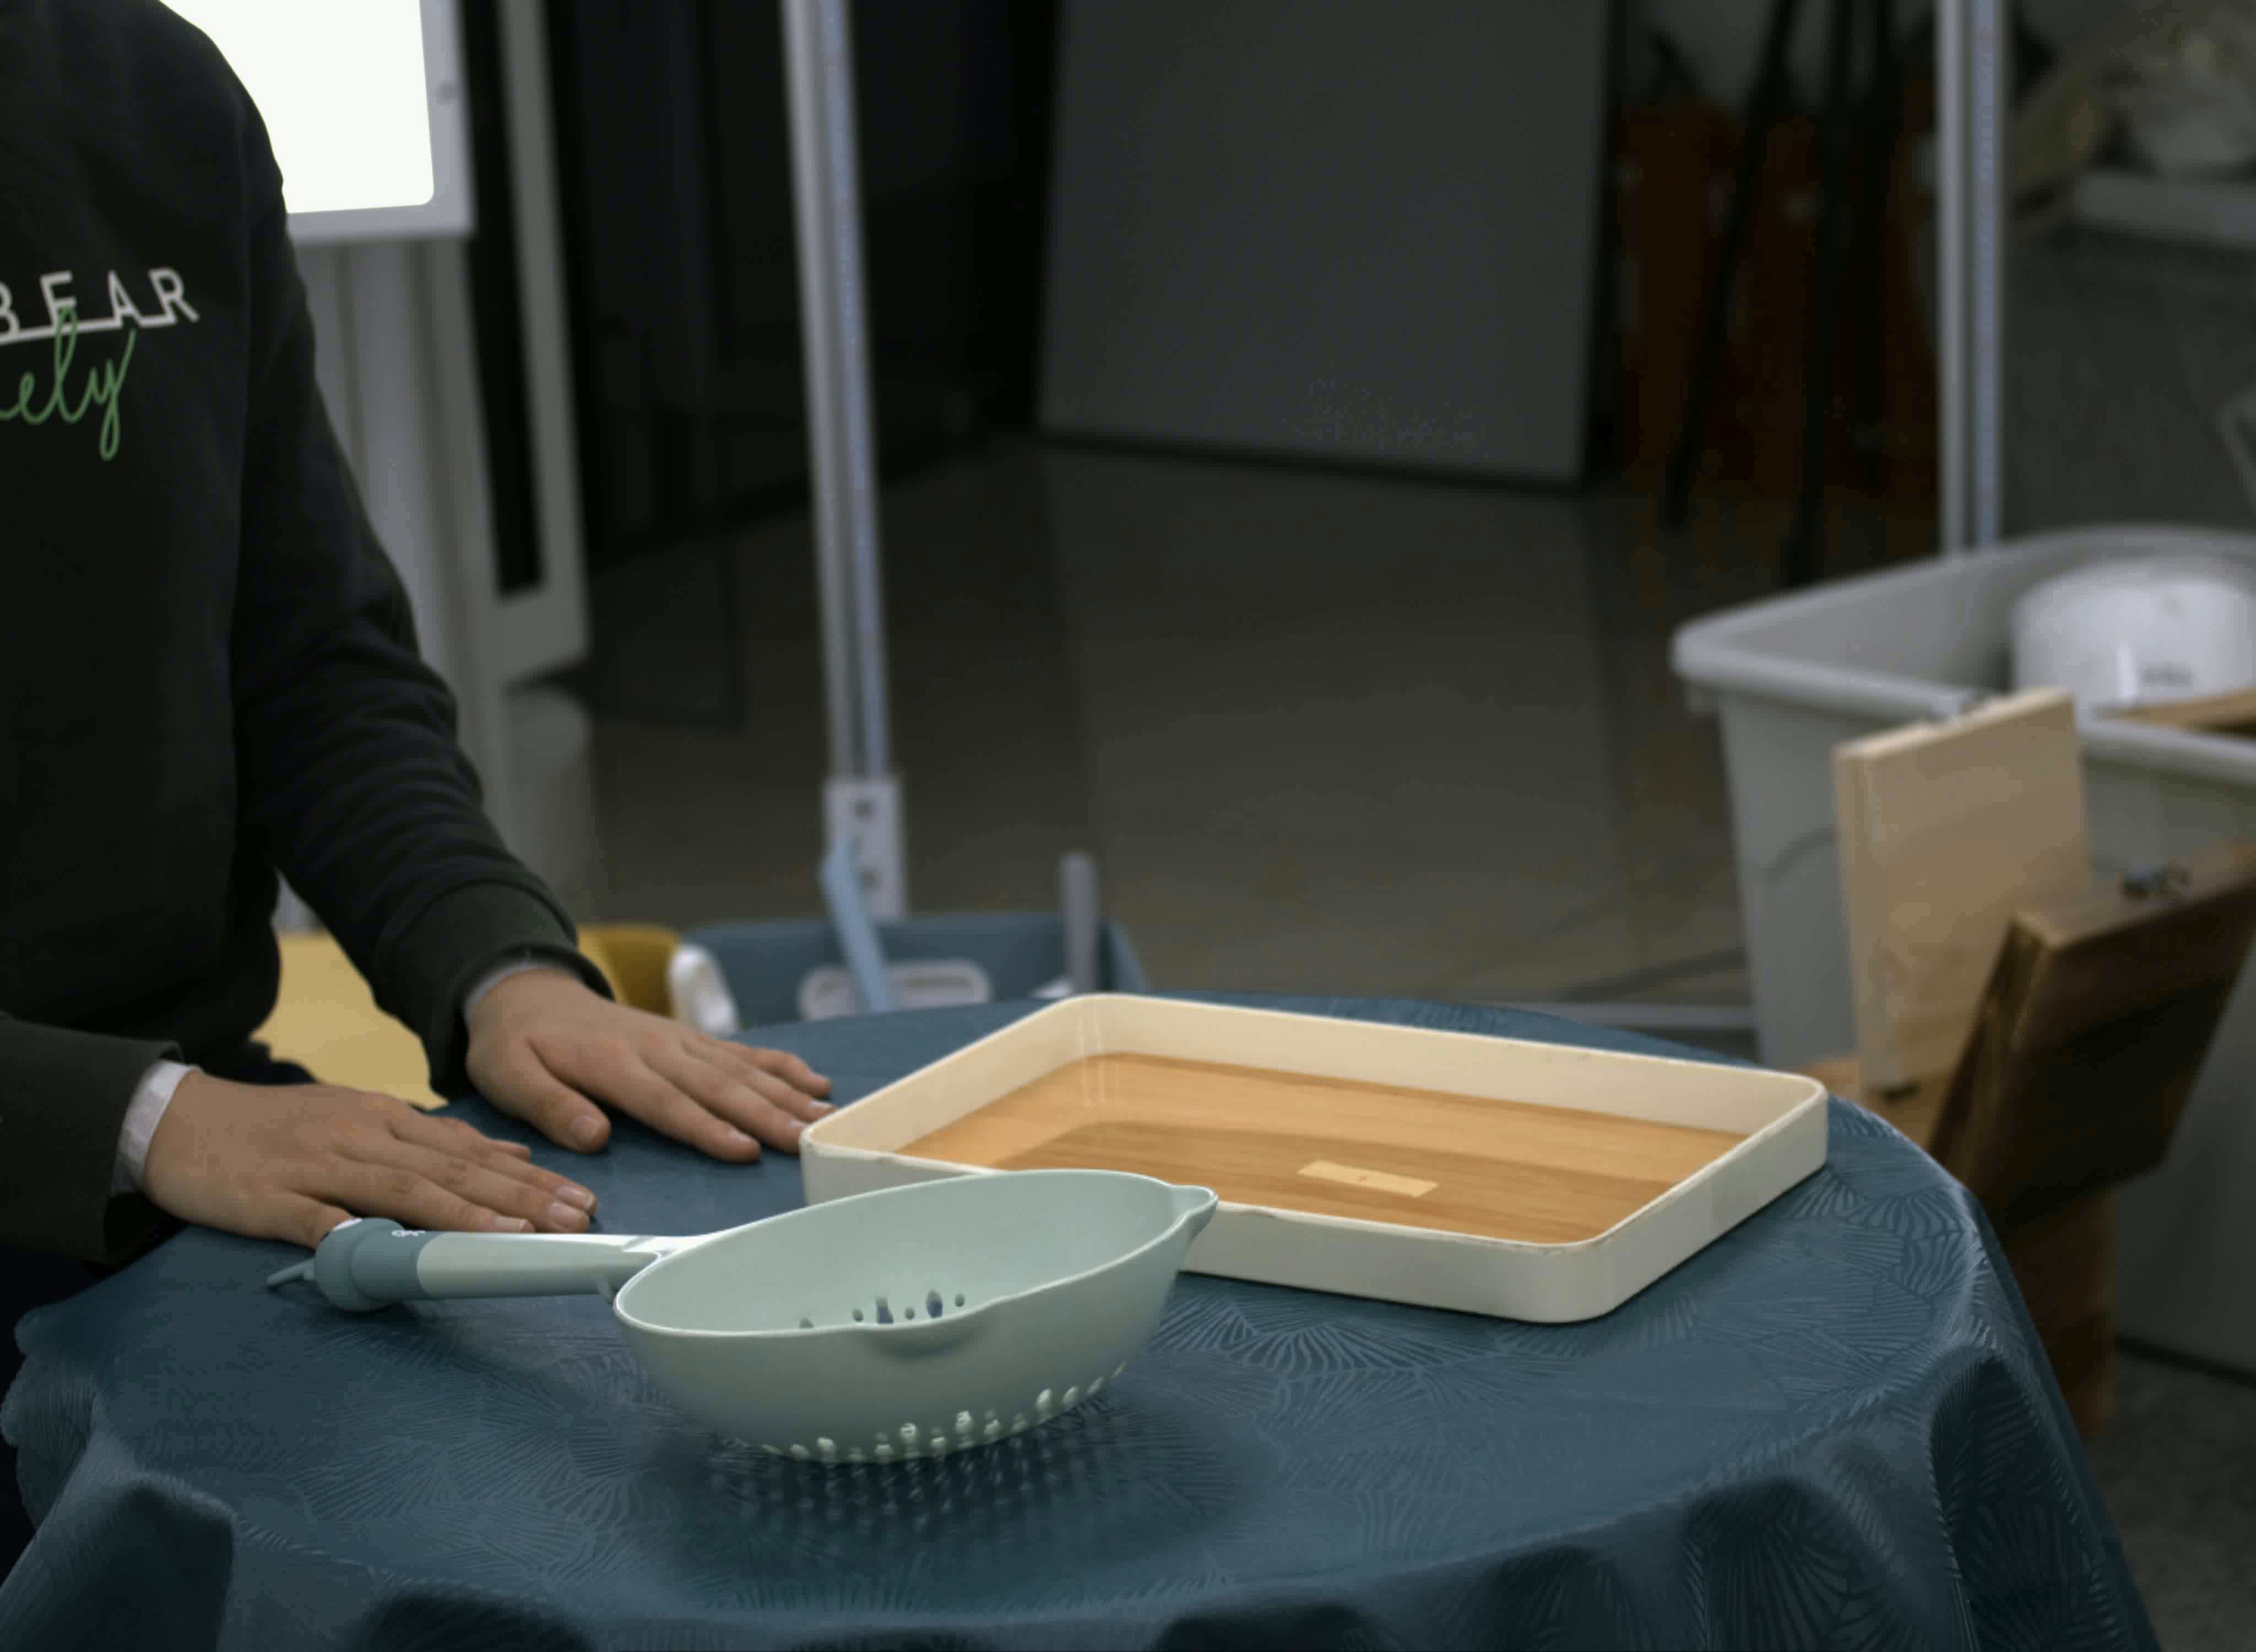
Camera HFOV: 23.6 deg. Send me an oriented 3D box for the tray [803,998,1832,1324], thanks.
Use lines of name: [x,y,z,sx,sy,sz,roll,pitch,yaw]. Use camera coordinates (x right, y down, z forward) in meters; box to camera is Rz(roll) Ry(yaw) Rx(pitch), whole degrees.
tray: [0.062,0.106,1.760,0.302,0.028,0.188,5,17,33]

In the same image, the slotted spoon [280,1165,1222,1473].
slotted spoon: [-0.134,0.137,1.612,0.362,0.076,0.166,8,18,40]
